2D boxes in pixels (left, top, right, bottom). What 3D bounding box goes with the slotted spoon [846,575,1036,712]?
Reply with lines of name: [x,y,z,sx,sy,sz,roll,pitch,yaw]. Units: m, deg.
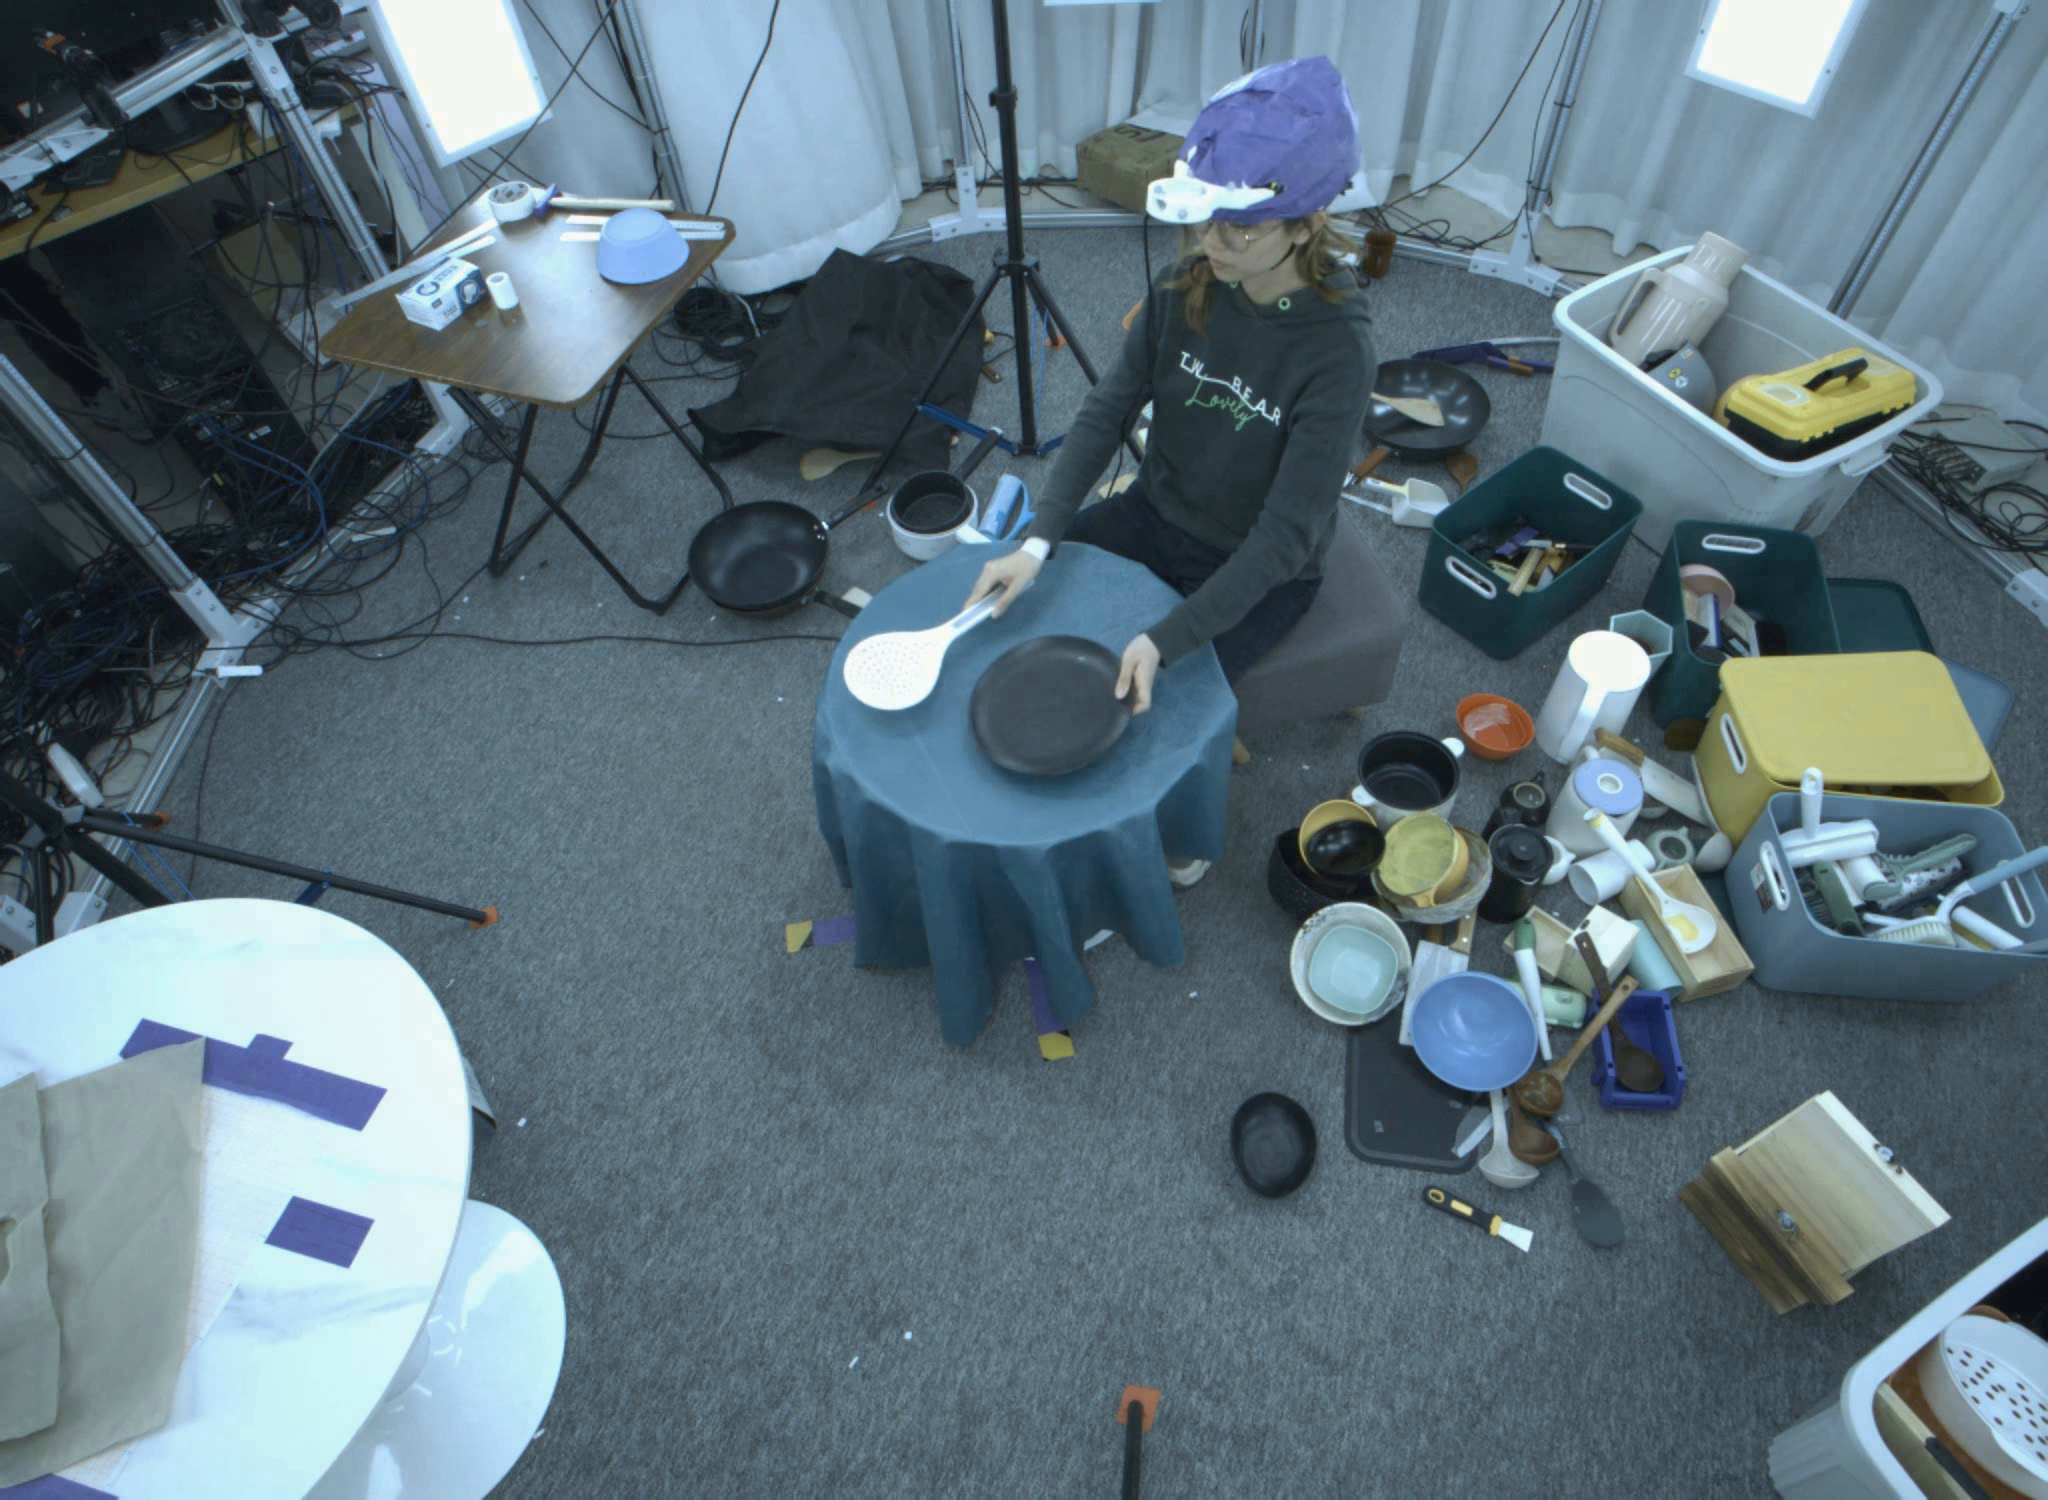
slotted spoon: [-0.117,-0.171,1.863,0.352,0.046,0.134,-39,72,-20]

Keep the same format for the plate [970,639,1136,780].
plate: [0.042,-0.058,1.785,0.243,0.024,0.242,-4,59,9]
